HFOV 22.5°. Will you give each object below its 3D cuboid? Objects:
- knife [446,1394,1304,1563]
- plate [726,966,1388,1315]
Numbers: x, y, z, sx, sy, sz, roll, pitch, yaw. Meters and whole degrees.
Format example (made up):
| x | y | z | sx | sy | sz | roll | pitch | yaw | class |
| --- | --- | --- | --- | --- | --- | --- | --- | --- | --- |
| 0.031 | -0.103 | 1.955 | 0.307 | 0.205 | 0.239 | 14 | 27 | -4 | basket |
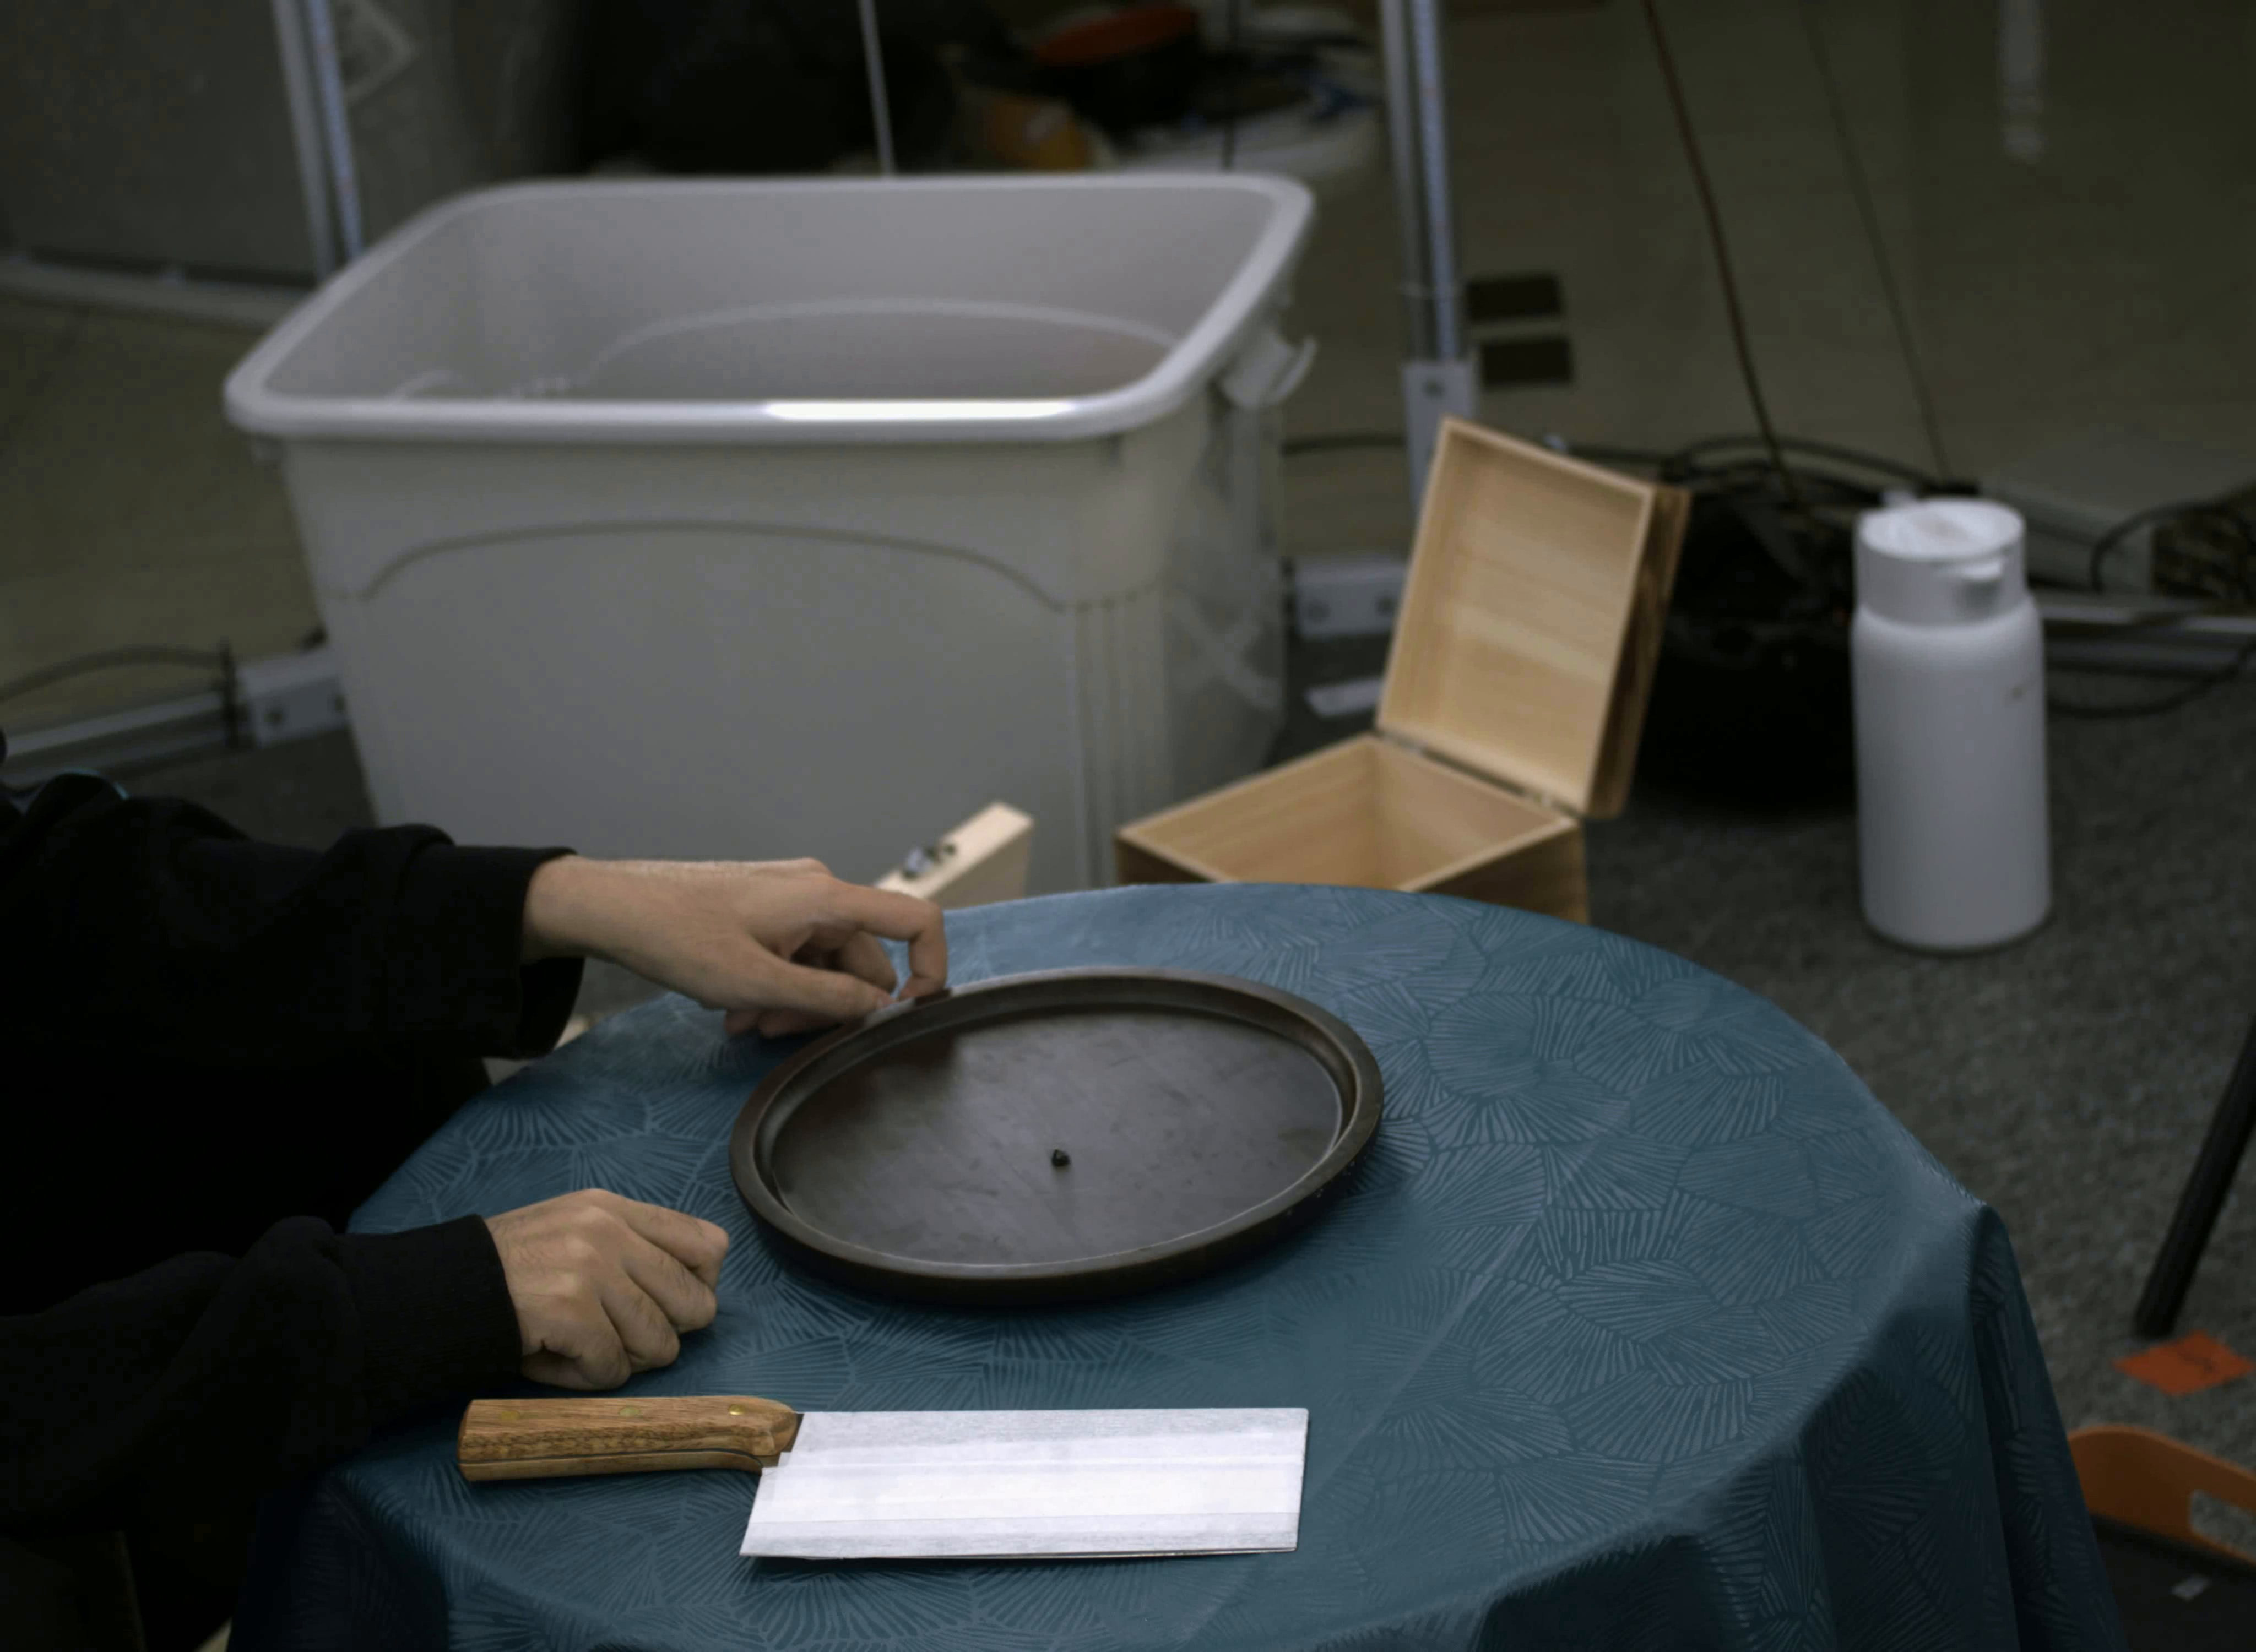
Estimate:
| x | y | z | sx | sy | sz | roll | pitch | yaw | class |
| --- | --- | --- | --- | --- | --- | --- | --- | --- | --- |
| -0.091 | 0.226 | 1.965 | 0.305 | 0.021 | 0.091 | -1 | 27 | 6 | knife |
| -0.026 | 0.118 | 2.168 | 0.254 | 0.029 | 0.251 | -4 | 27 | 2 | plate |
